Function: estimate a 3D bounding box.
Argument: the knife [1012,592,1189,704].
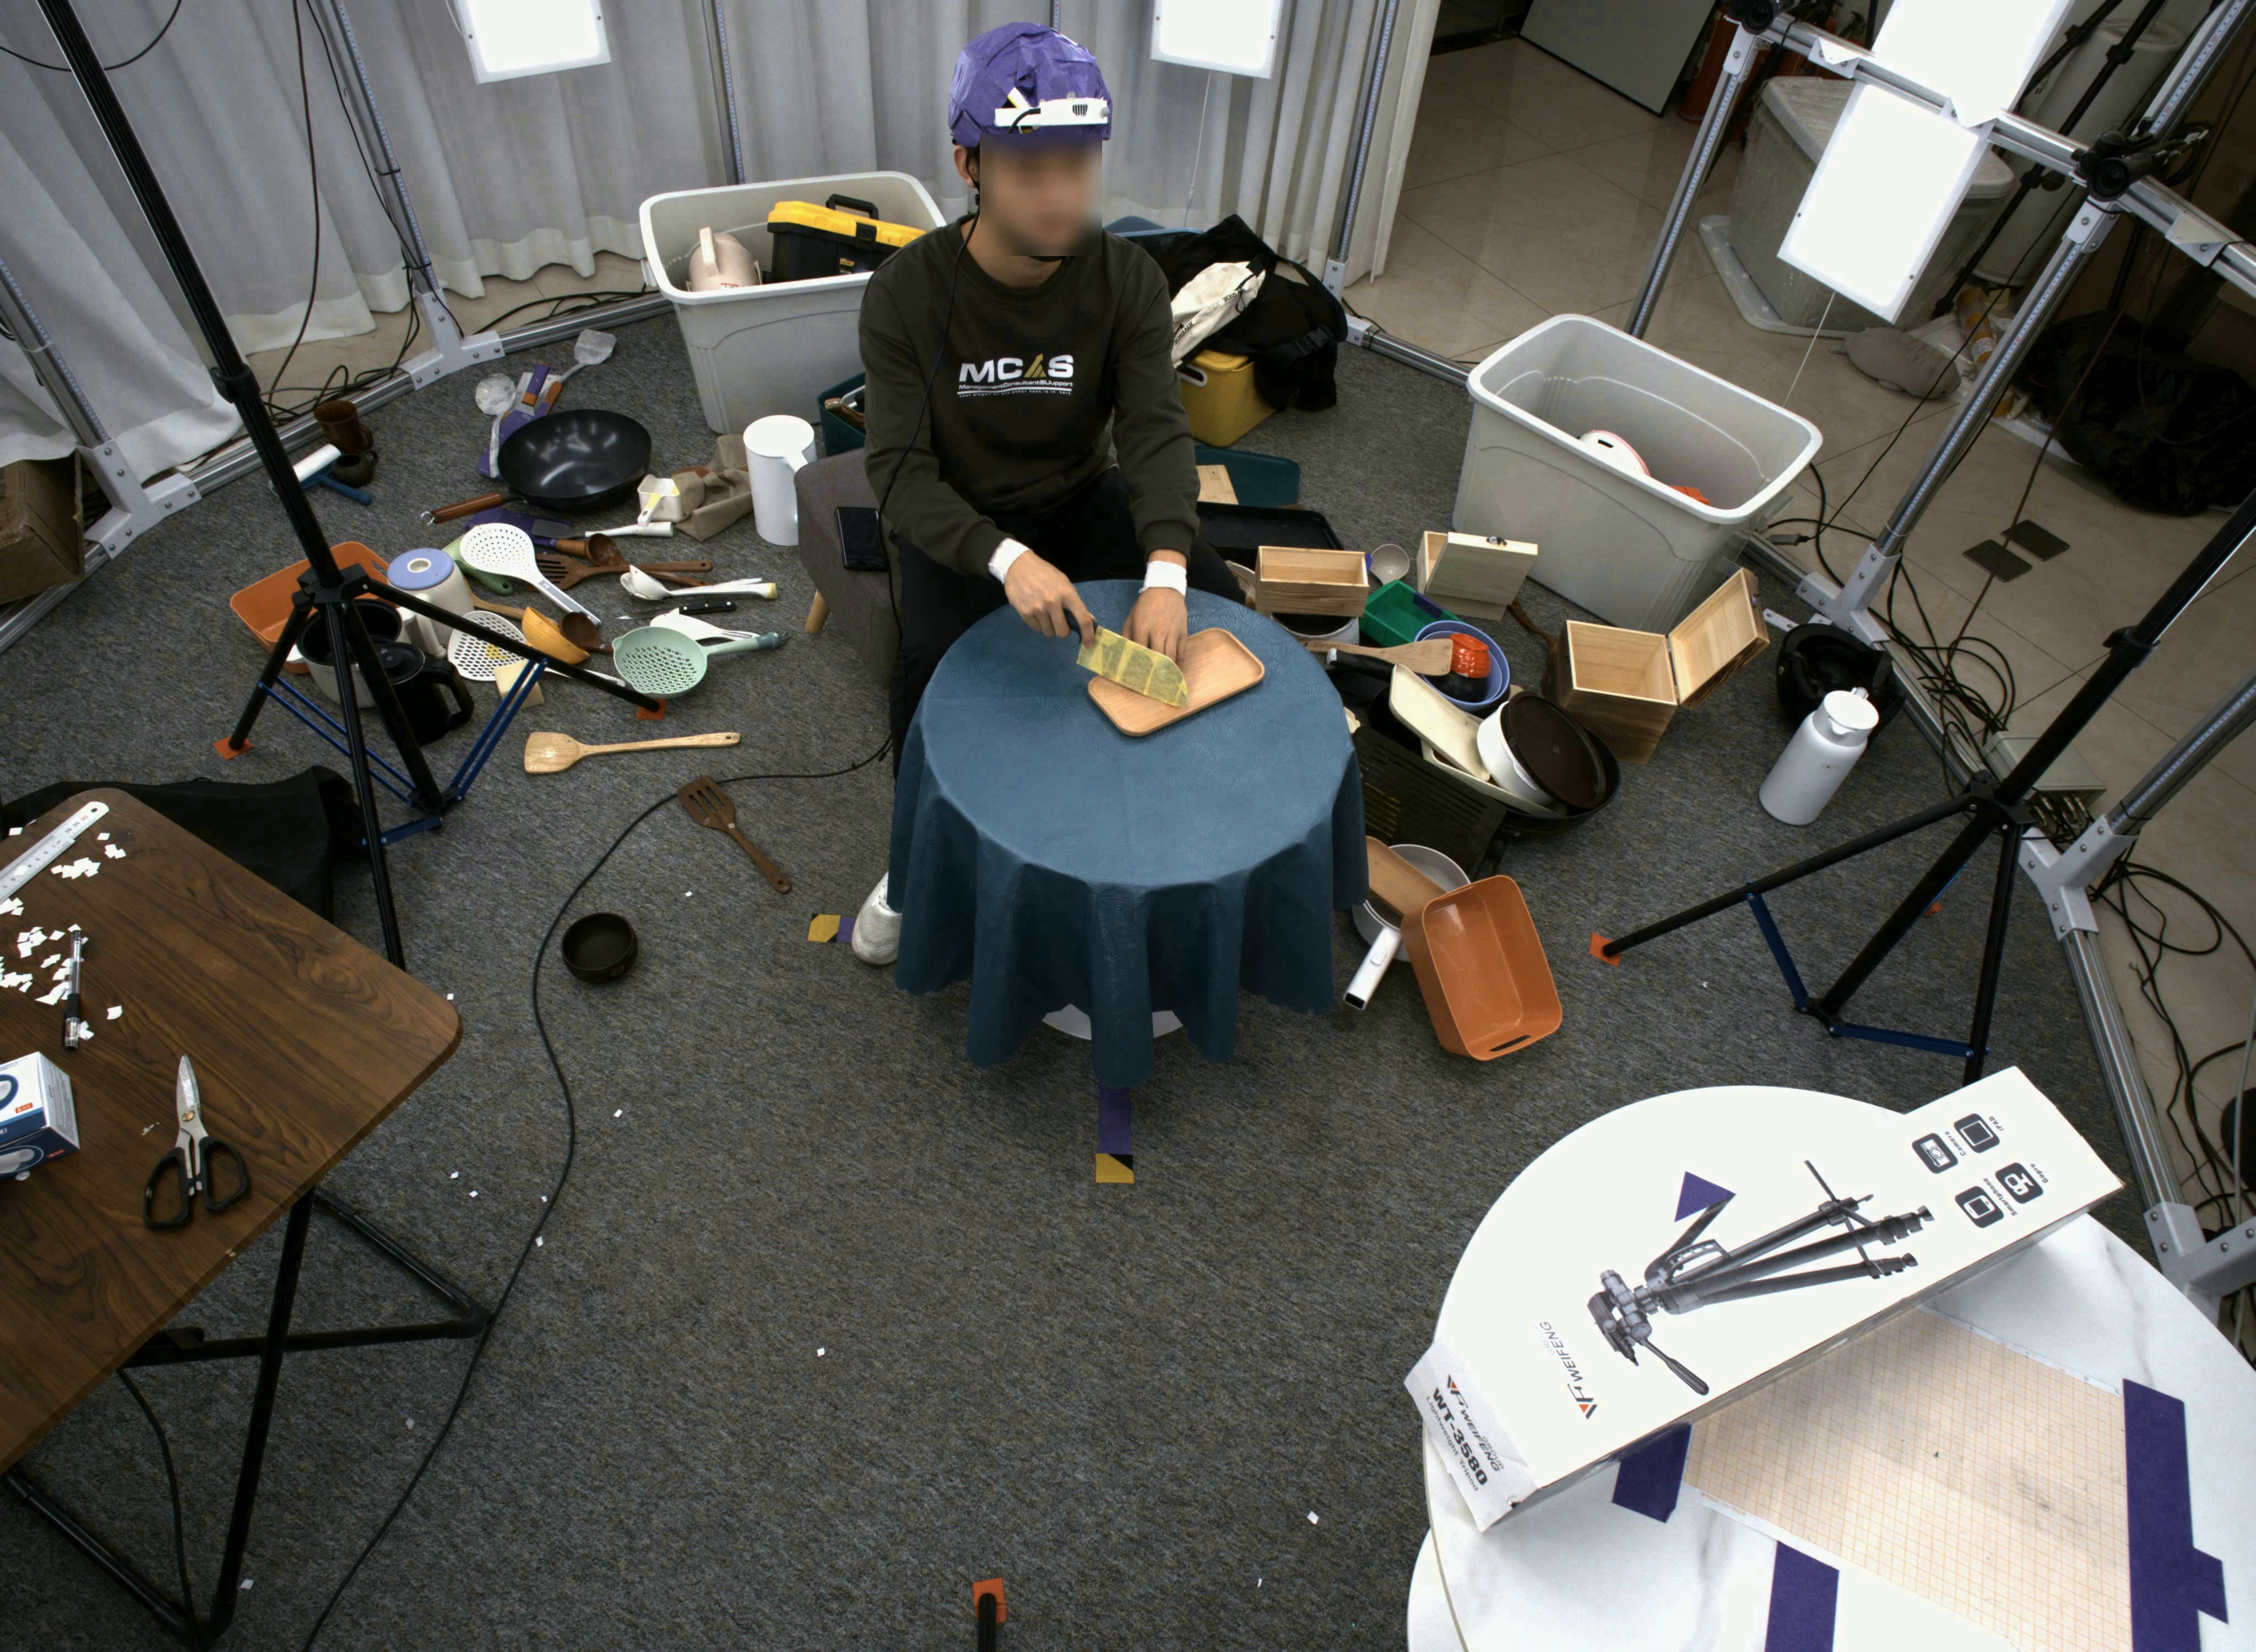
[{"bbox_3d":[-0.040,-0.251,1.812,0.291,0.079,0.027,29,37,10],"label":"knife"}]

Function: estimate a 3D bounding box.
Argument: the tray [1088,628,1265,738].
[{"bbox_3d":[0.071,-0.207,1.841,0.252,0.022,0.133,-26,53,-23],"label":"tray"}]
